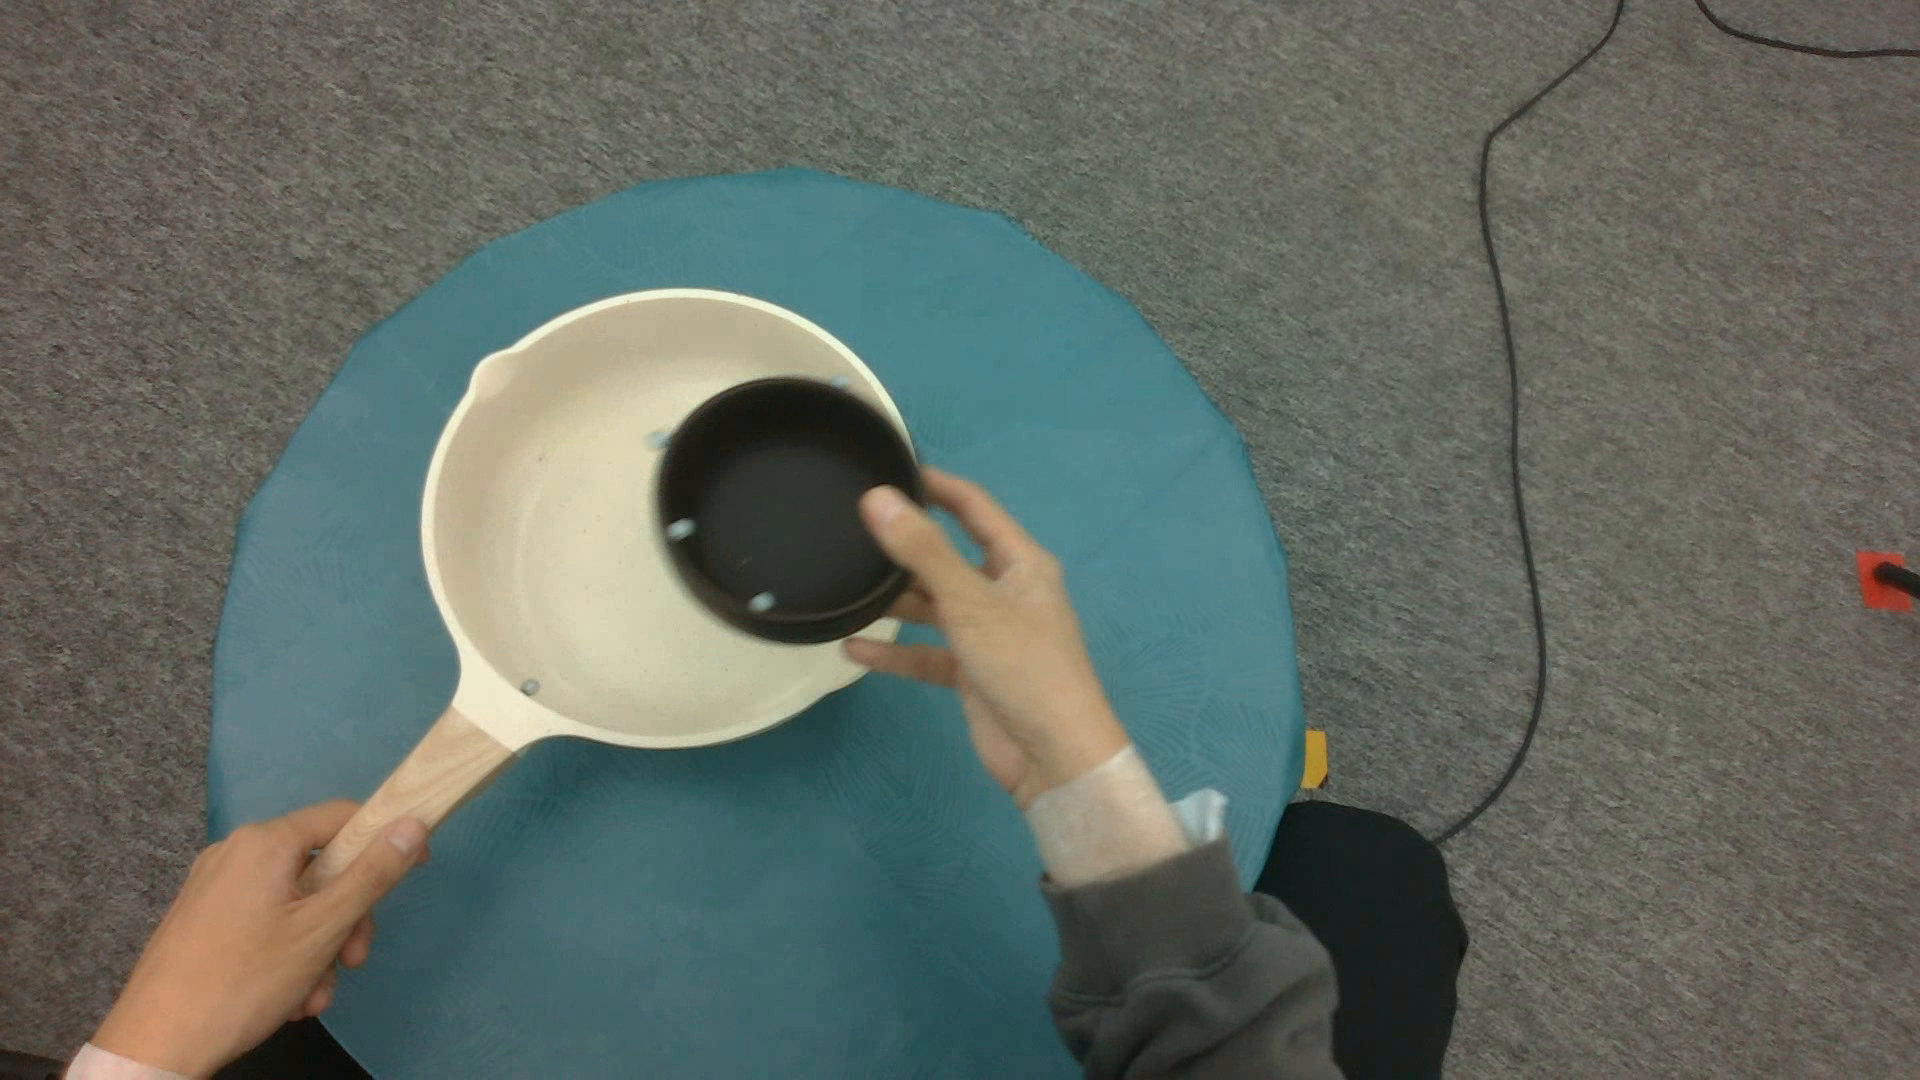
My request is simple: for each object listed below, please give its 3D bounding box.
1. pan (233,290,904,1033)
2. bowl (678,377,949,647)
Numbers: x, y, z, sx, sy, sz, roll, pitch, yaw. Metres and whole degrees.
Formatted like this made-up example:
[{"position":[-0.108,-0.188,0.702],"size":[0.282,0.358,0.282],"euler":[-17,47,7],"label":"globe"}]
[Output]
[{"position":[-0.201,0.062,0.724],"size":[0.263,0.101,0.436],"euler":[35,72,6],"label":"pan"},{"position":[-0.066,-0.007,0.620],"size":[0.118,0.069,0.118],"euler":[2,69,-6],"label":"bowl"}]
